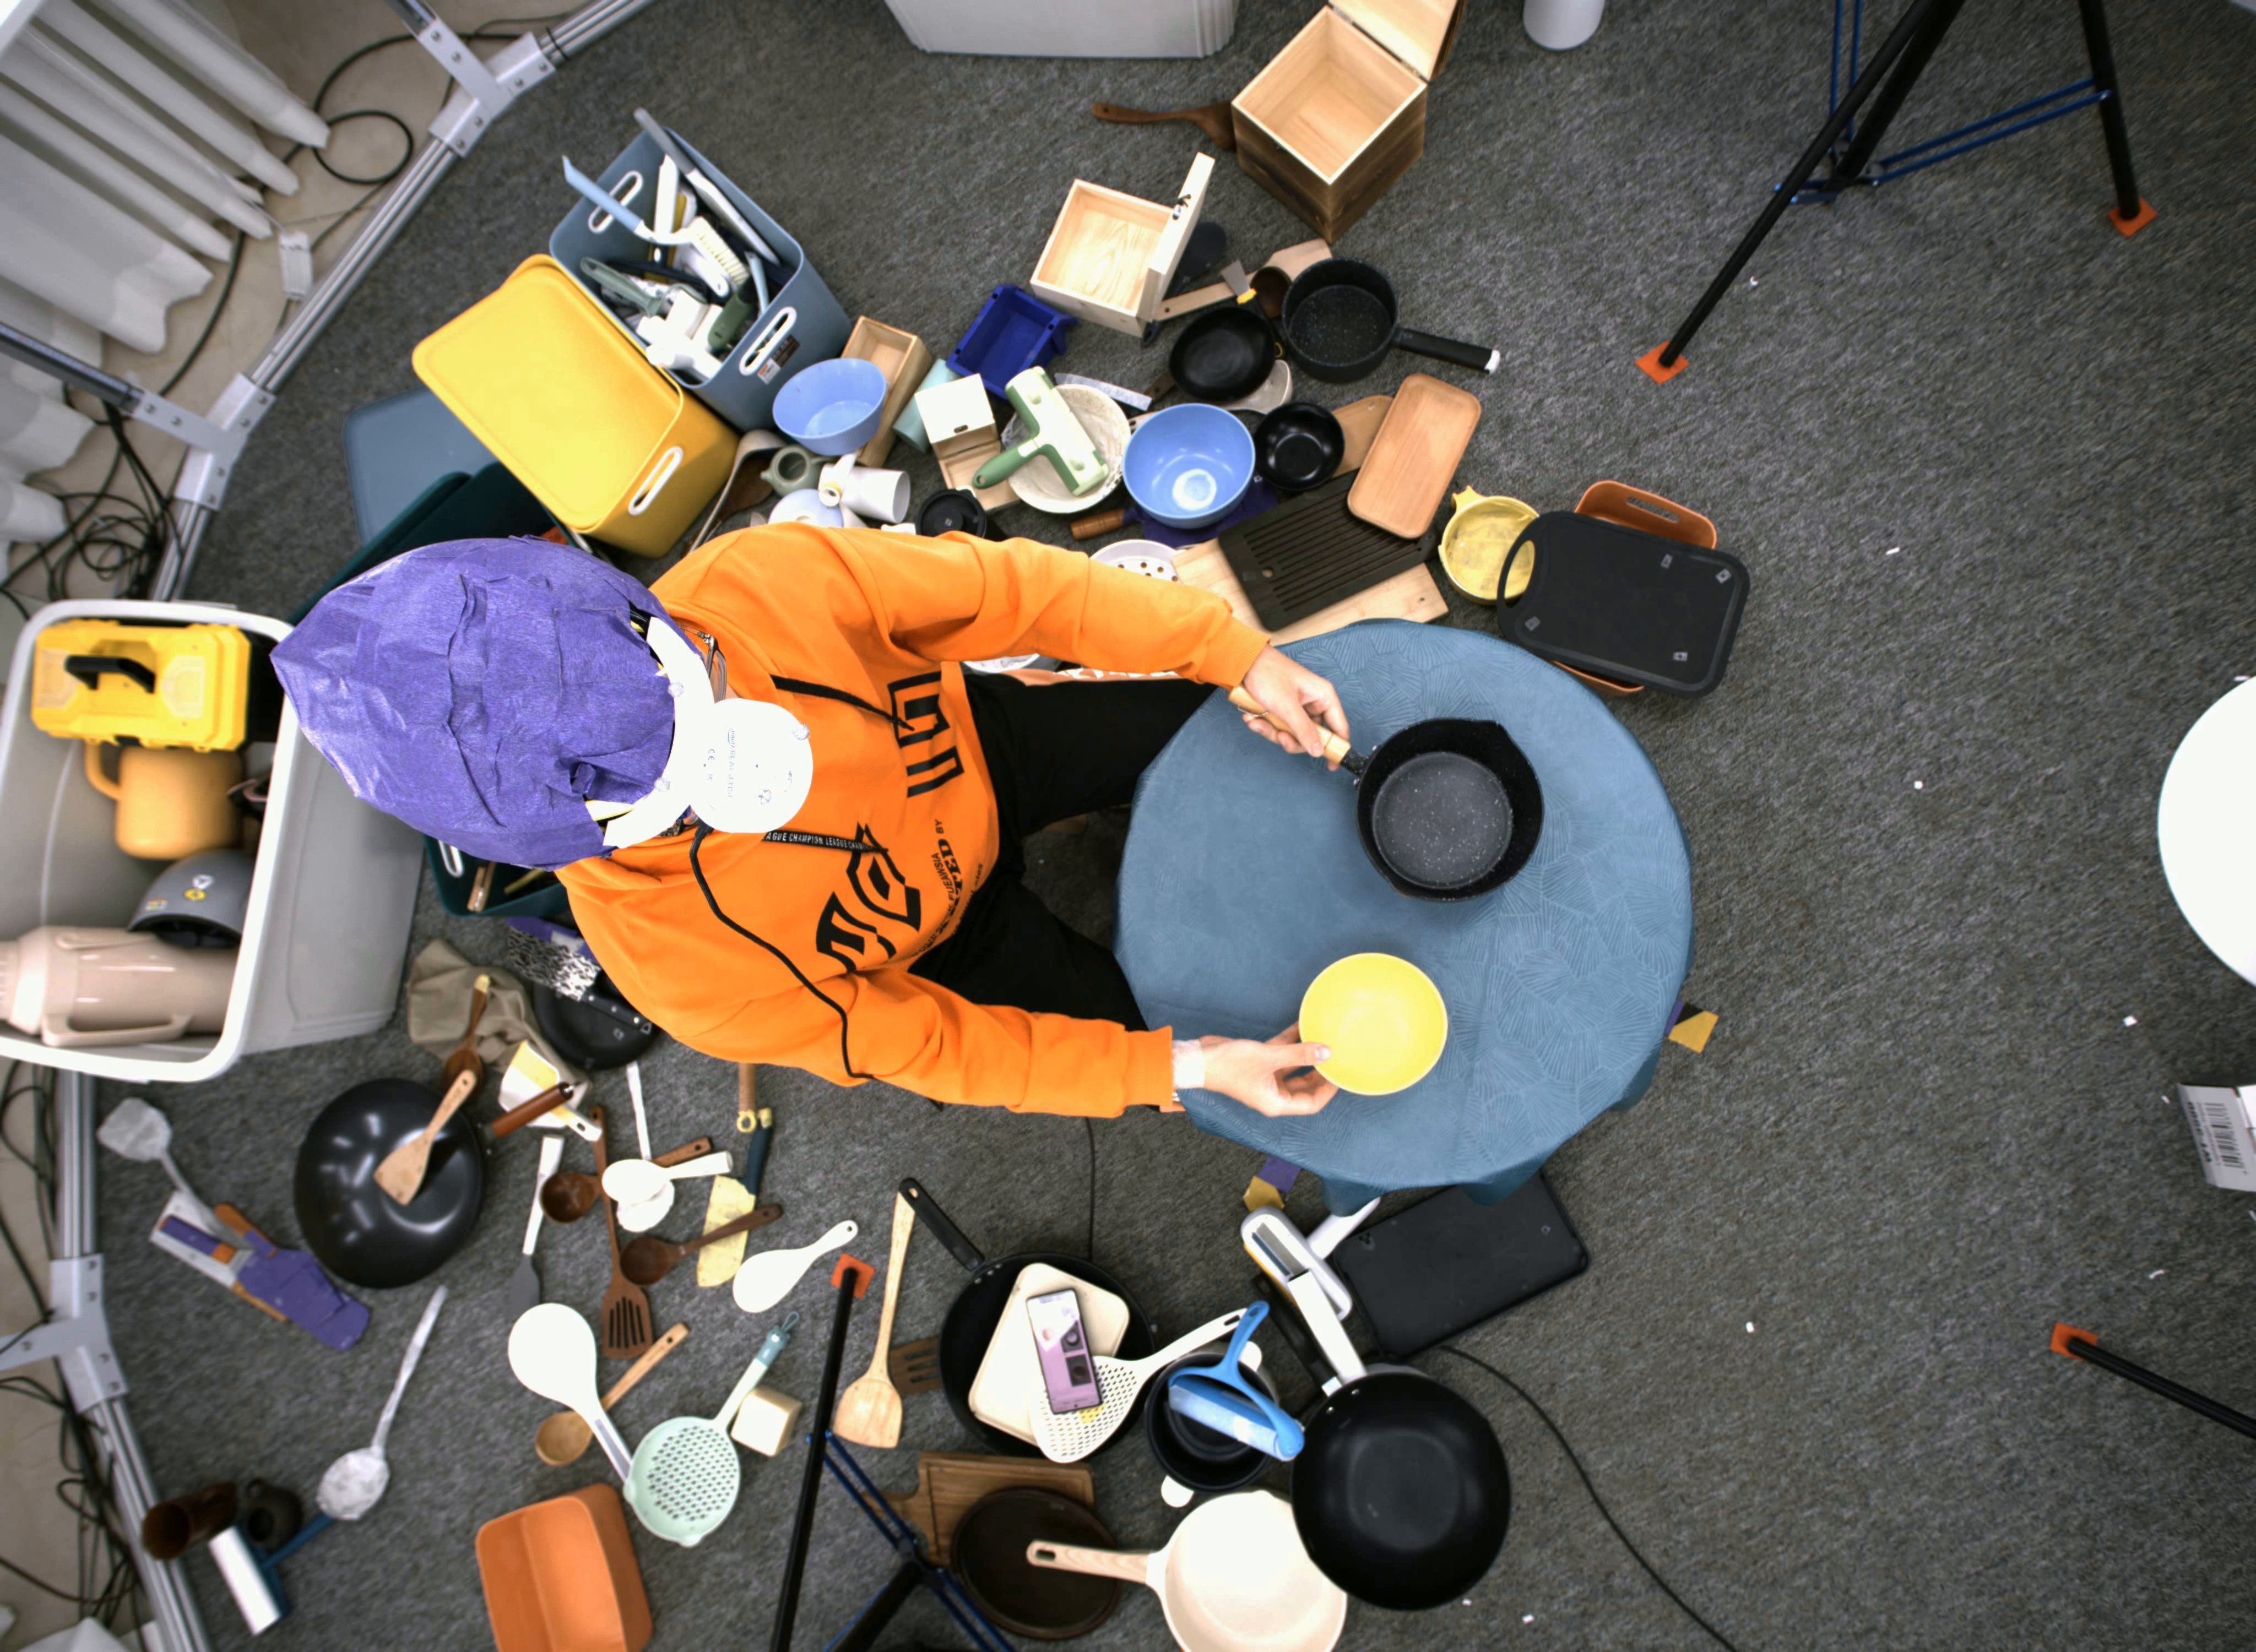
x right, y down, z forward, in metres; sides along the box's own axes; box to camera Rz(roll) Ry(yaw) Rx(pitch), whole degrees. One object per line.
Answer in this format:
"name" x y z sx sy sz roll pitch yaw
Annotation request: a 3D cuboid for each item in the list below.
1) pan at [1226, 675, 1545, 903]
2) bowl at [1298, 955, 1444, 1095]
"pan" 0.252 -0.053 1.399 0.342 0.108 0.207 29 89 9
"bowl" 0.244 0.206 1.393 0.146 0.061 0.142 -4 66 8
